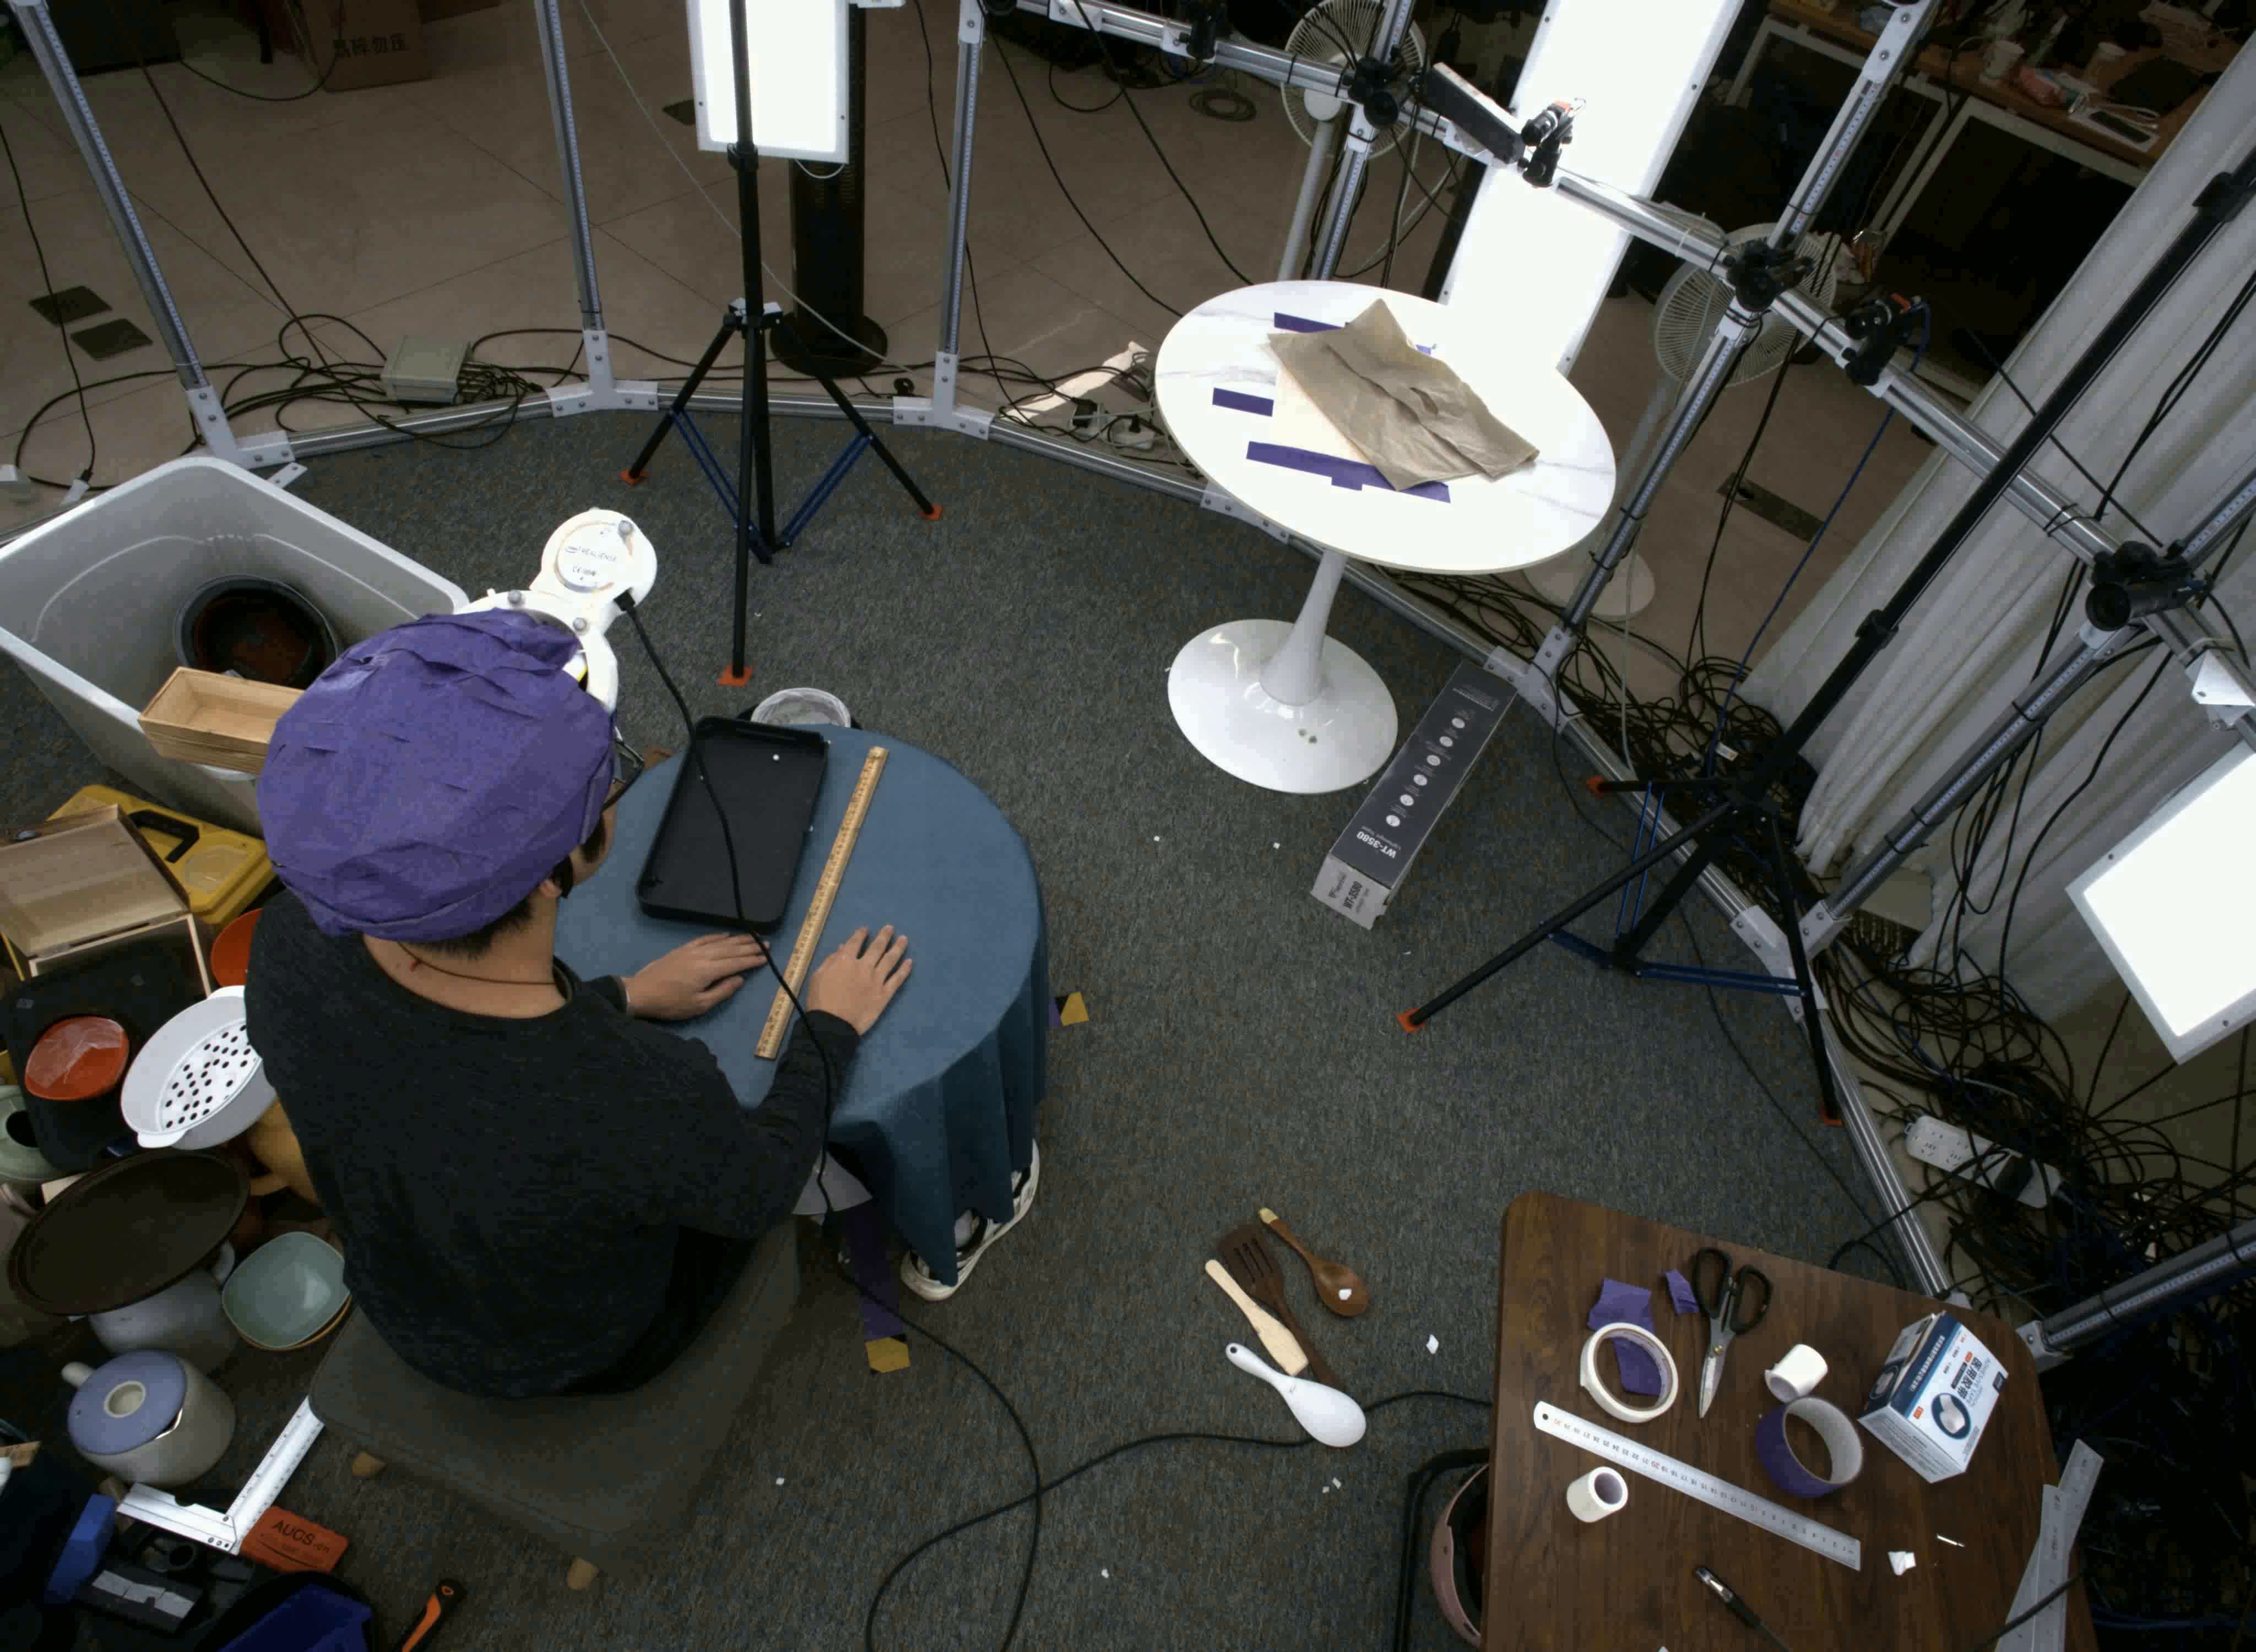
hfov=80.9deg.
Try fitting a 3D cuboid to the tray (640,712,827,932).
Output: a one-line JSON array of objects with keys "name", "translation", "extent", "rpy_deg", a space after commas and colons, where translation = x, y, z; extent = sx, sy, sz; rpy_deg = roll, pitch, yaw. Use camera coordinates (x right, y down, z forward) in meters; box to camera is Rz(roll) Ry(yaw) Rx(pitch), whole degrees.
[{"name": "tray", "translation": [-0.507, -0.011, 1.683], "extent": [0.184, 0.038, 0.312], "rpy_deg": [9, 53, -8]}]

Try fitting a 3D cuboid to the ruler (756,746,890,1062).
[{"name": "ruler", "translation": [-0.385, 0.080, 1.666], "extent": [0.026, 0.006, 0.493], "rpy_deg": [13, 52, -2]}]
